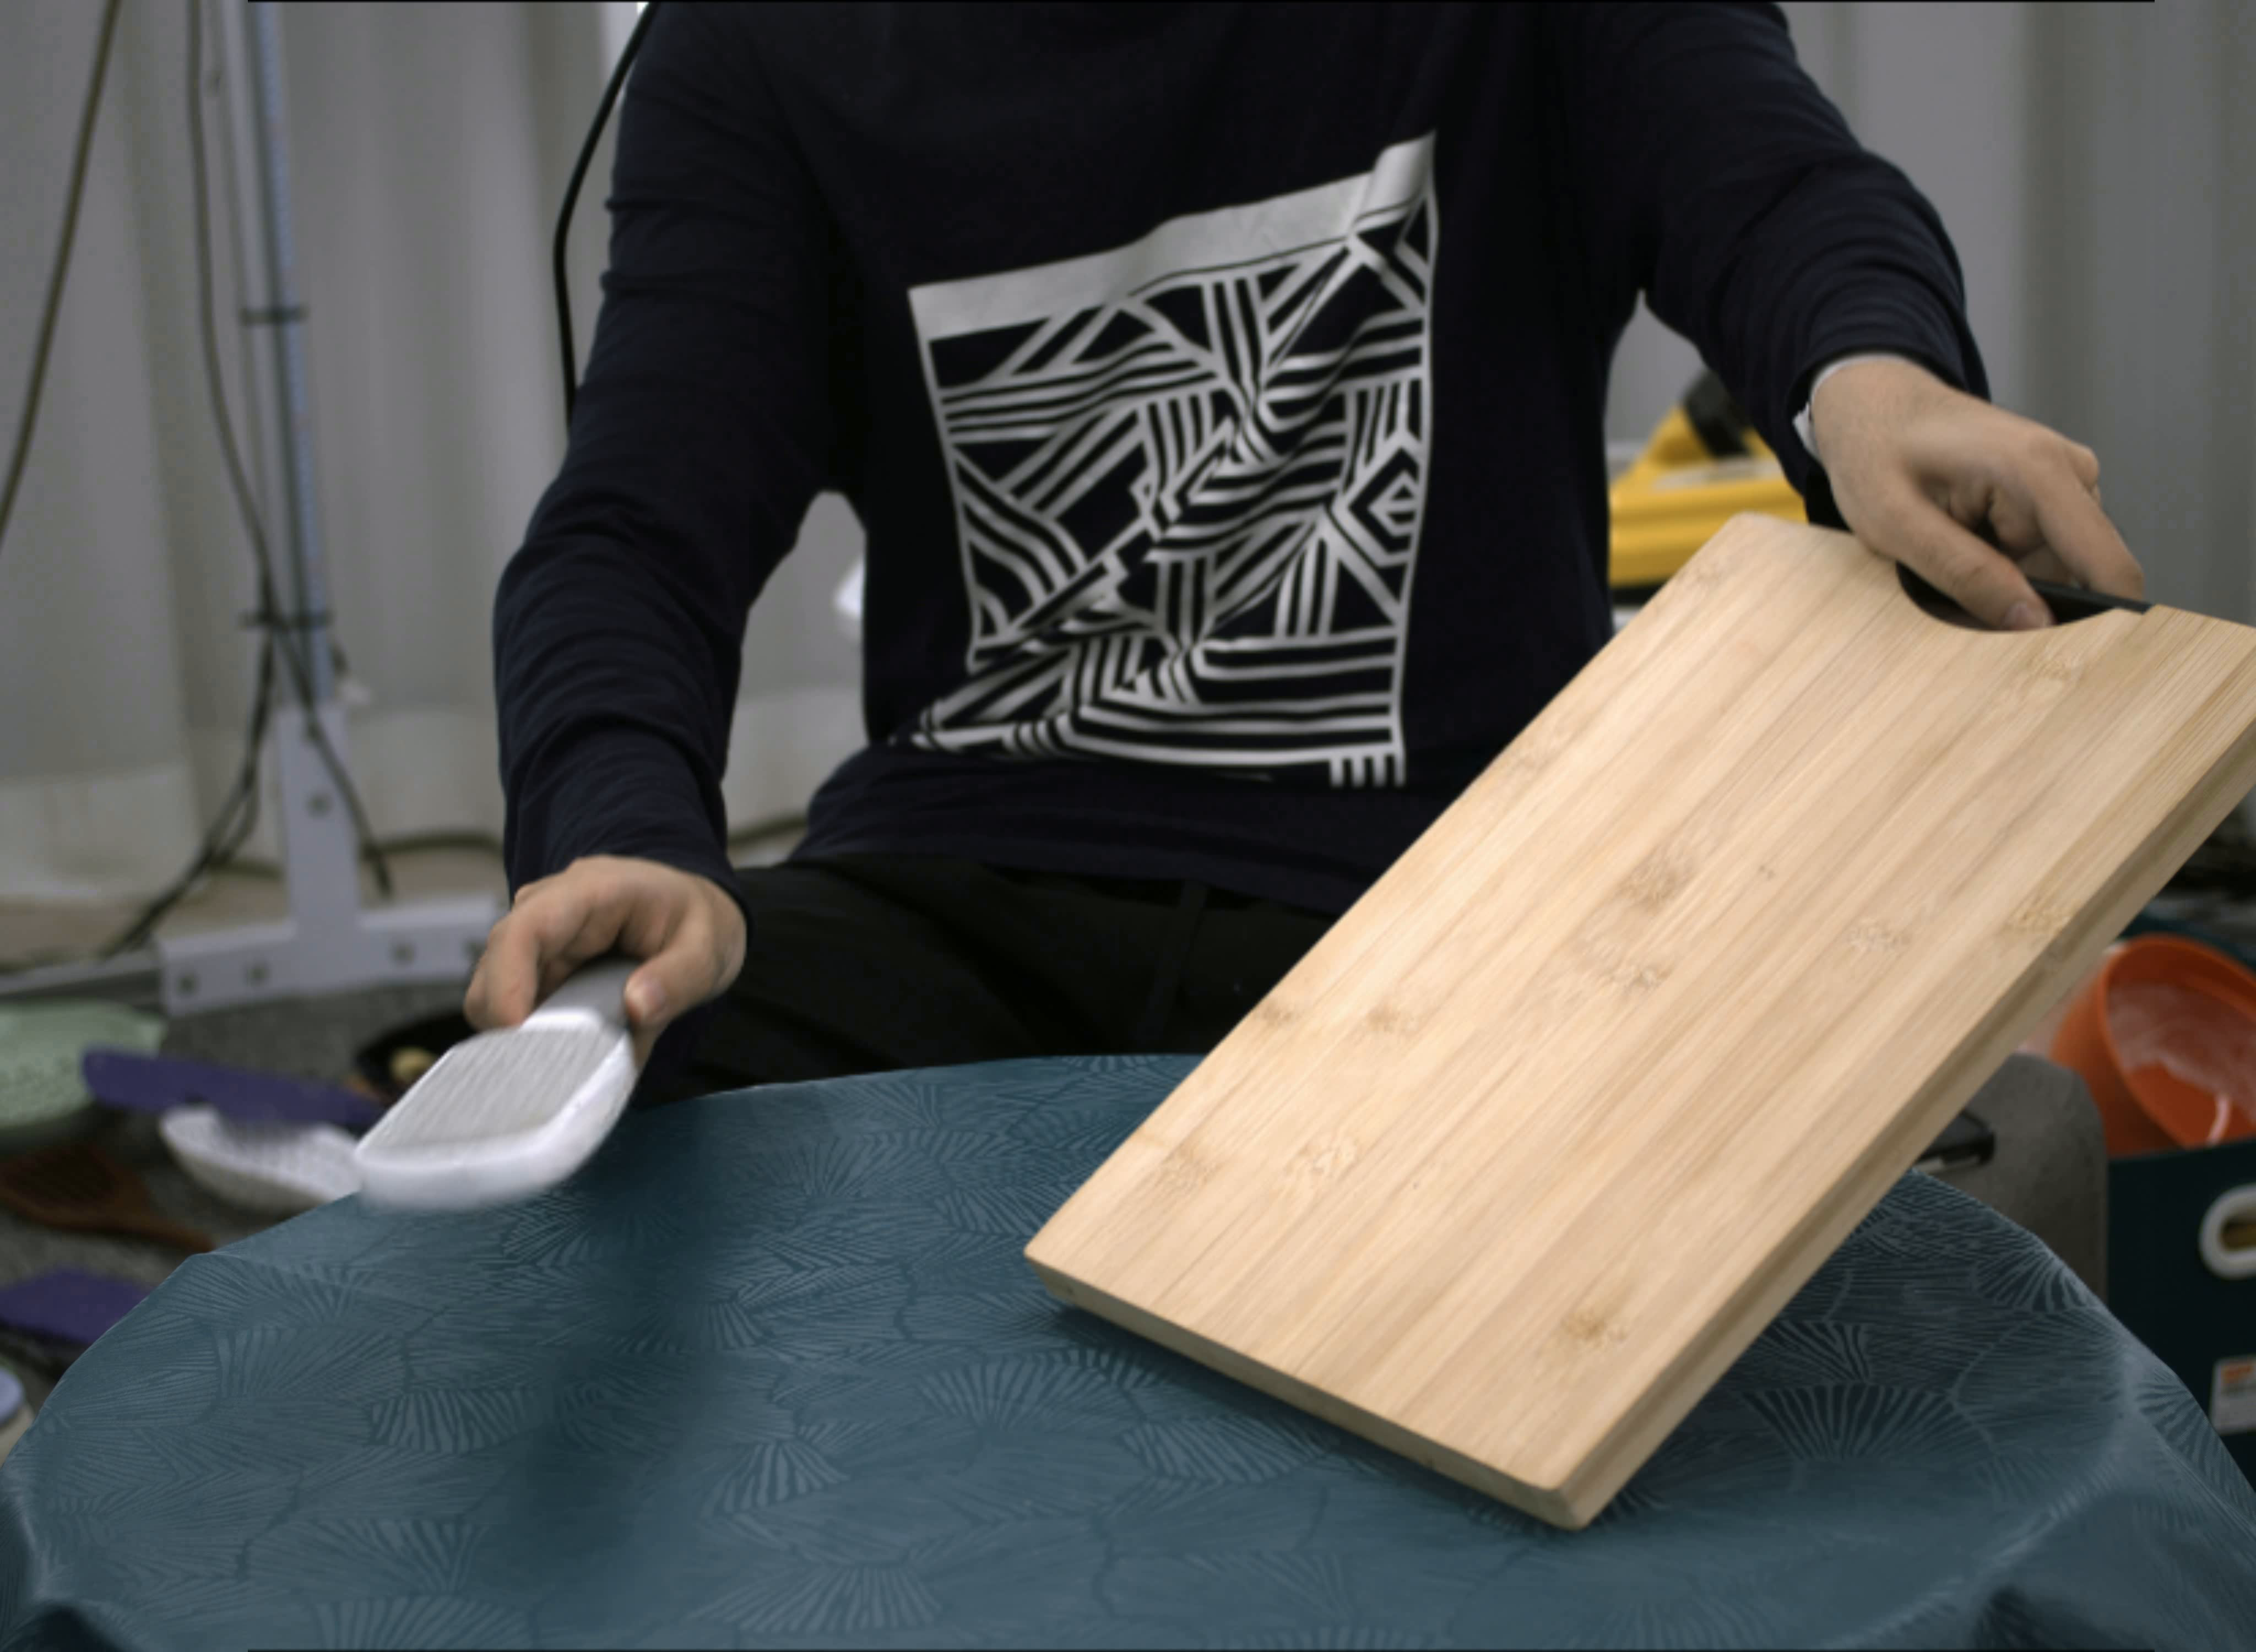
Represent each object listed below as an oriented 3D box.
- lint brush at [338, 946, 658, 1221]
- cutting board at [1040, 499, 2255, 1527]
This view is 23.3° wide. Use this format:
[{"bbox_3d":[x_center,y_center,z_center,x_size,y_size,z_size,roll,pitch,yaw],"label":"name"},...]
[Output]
[{"bbox_3d":[-0.175,0.073,1.613,0.060,0.021,0.310,-6,9,6],"label":"lint brush"},{"bbox_3d":[0.160,0.041,1.578,0.350,0.023,0.252,-45,35,-21],"label":"cutting board"}]
